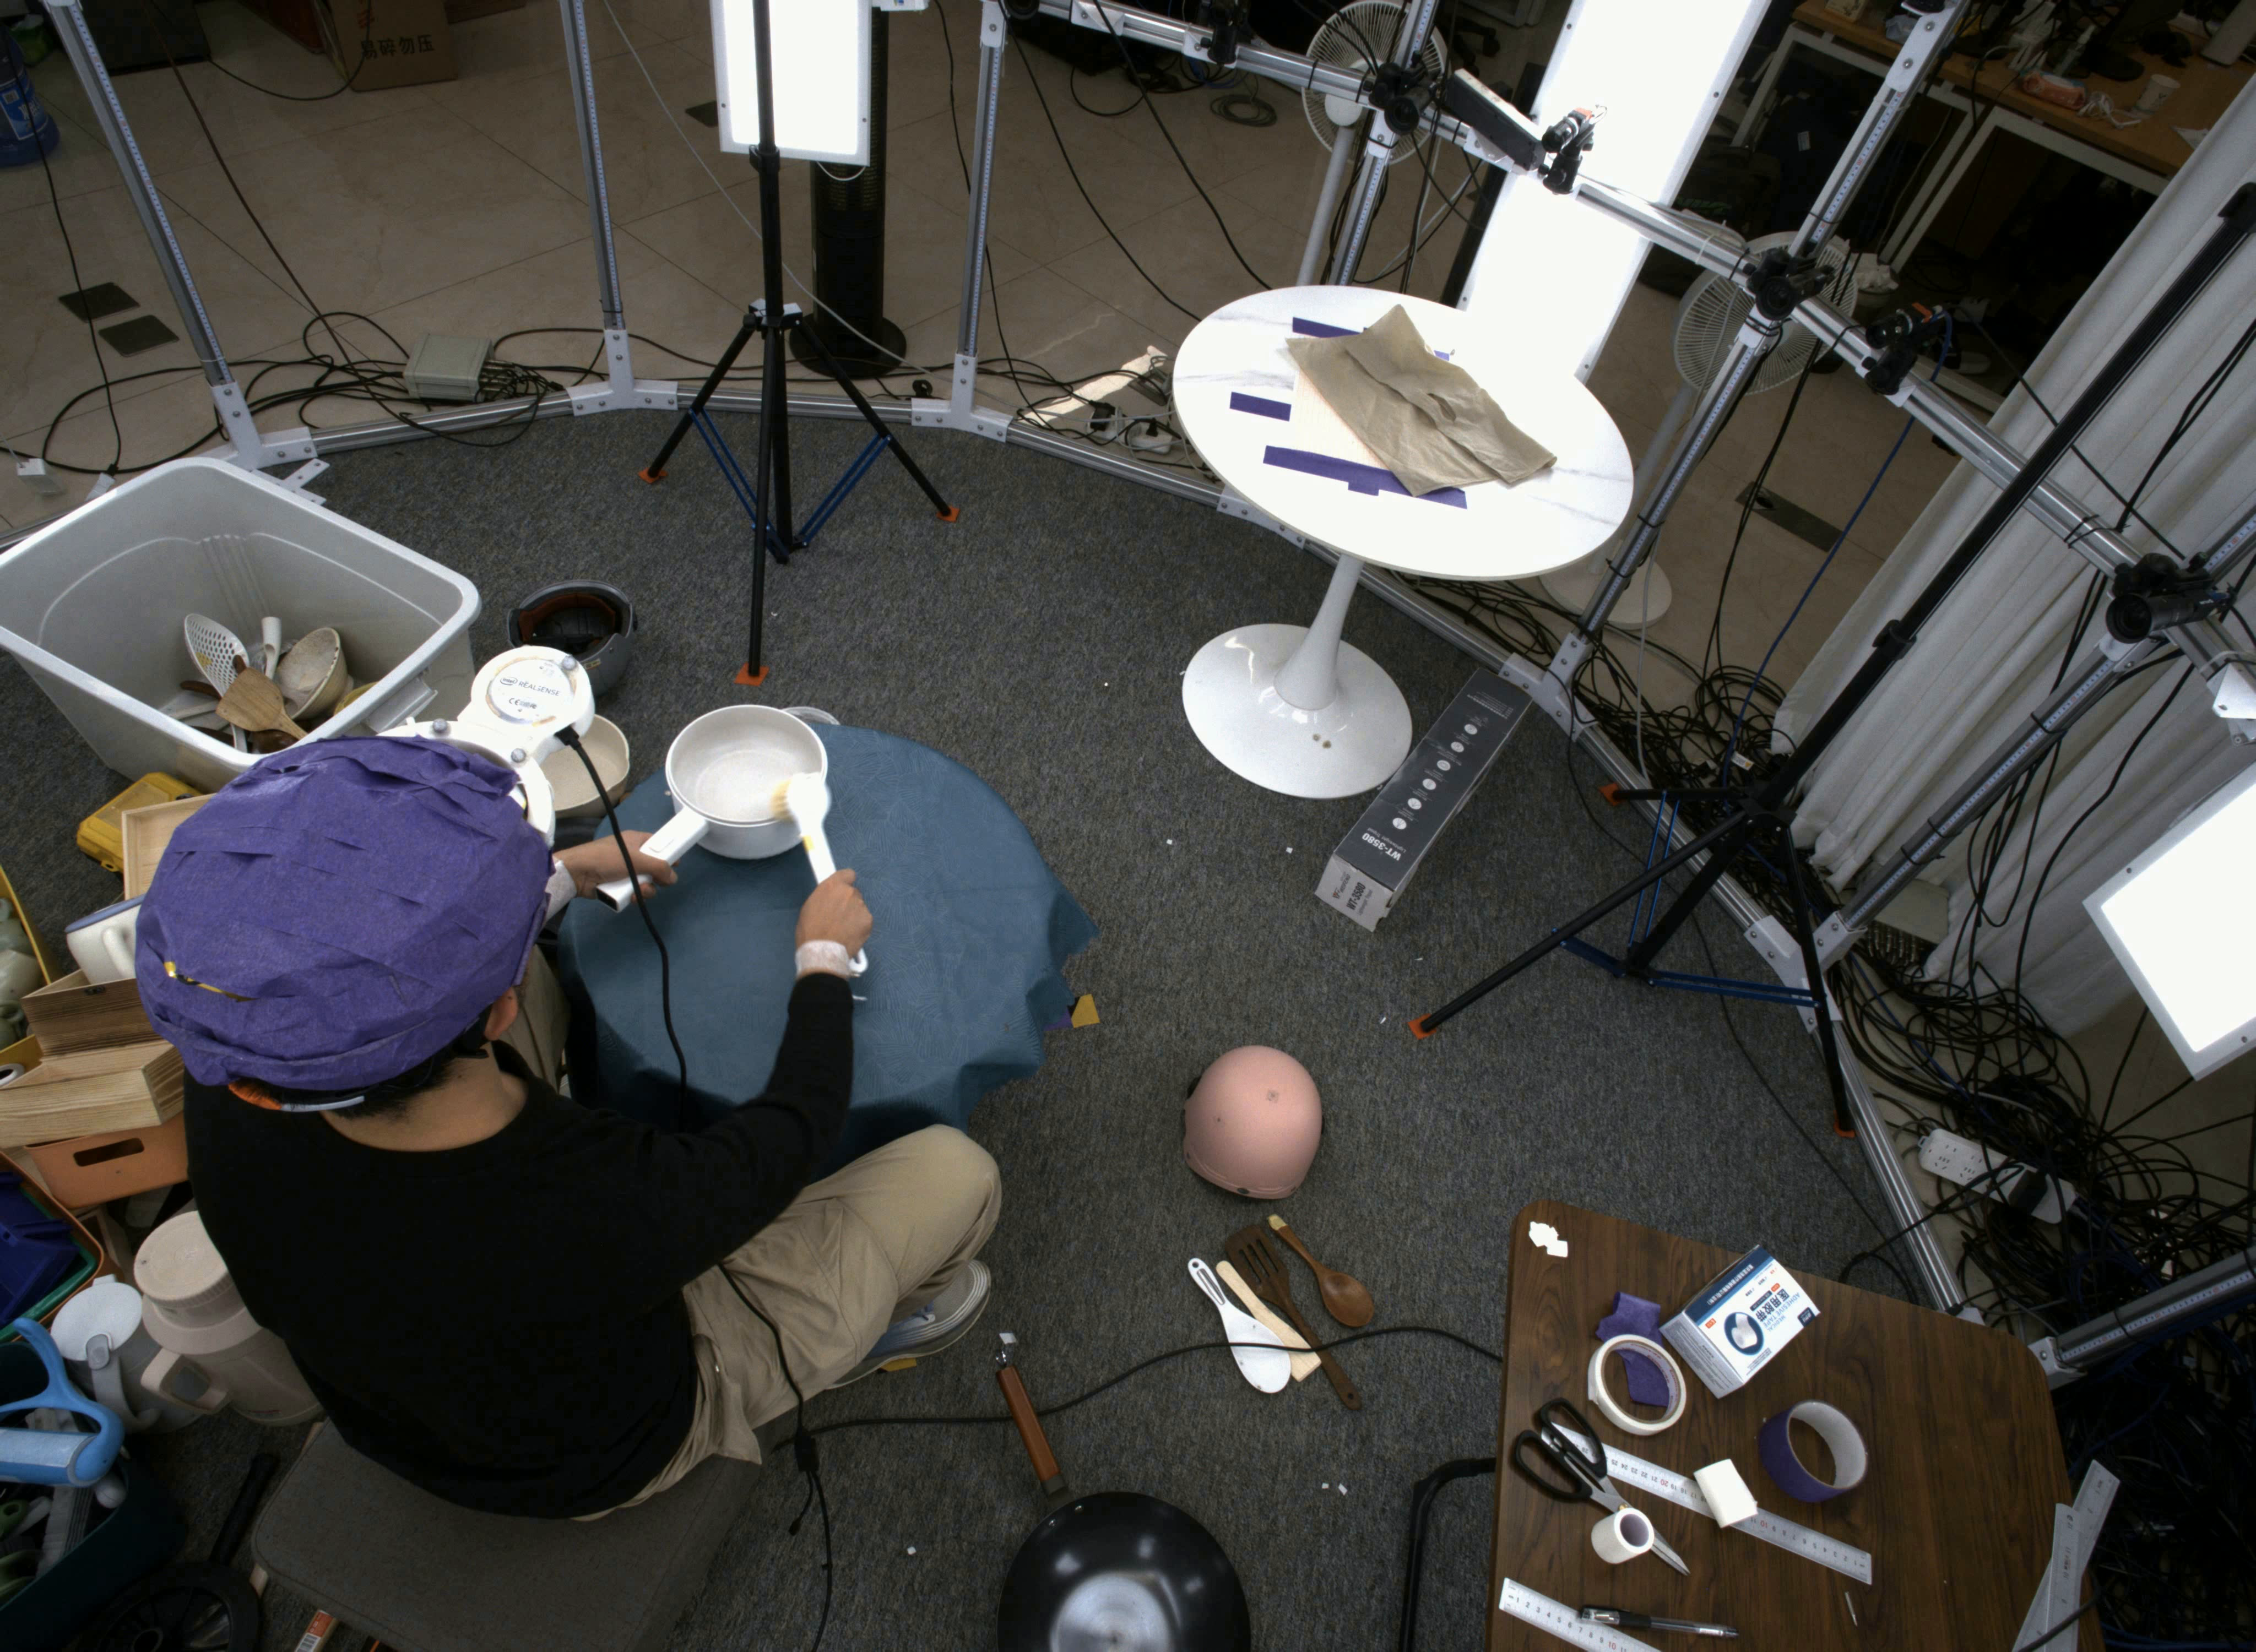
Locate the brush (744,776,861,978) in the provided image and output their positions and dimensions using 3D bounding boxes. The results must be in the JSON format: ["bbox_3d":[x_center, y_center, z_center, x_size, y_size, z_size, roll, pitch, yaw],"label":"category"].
[{"bbox_3d":[-0.392,0.065,1.569,0.069,0.055,0.267,-18,82,-43],"label":"brush"}]

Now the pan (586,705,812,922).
[{"bbox_3d":[-0.546,0.001,1.627,0.198,0.104,0.353,30,54,7],"label":"pan"}]
